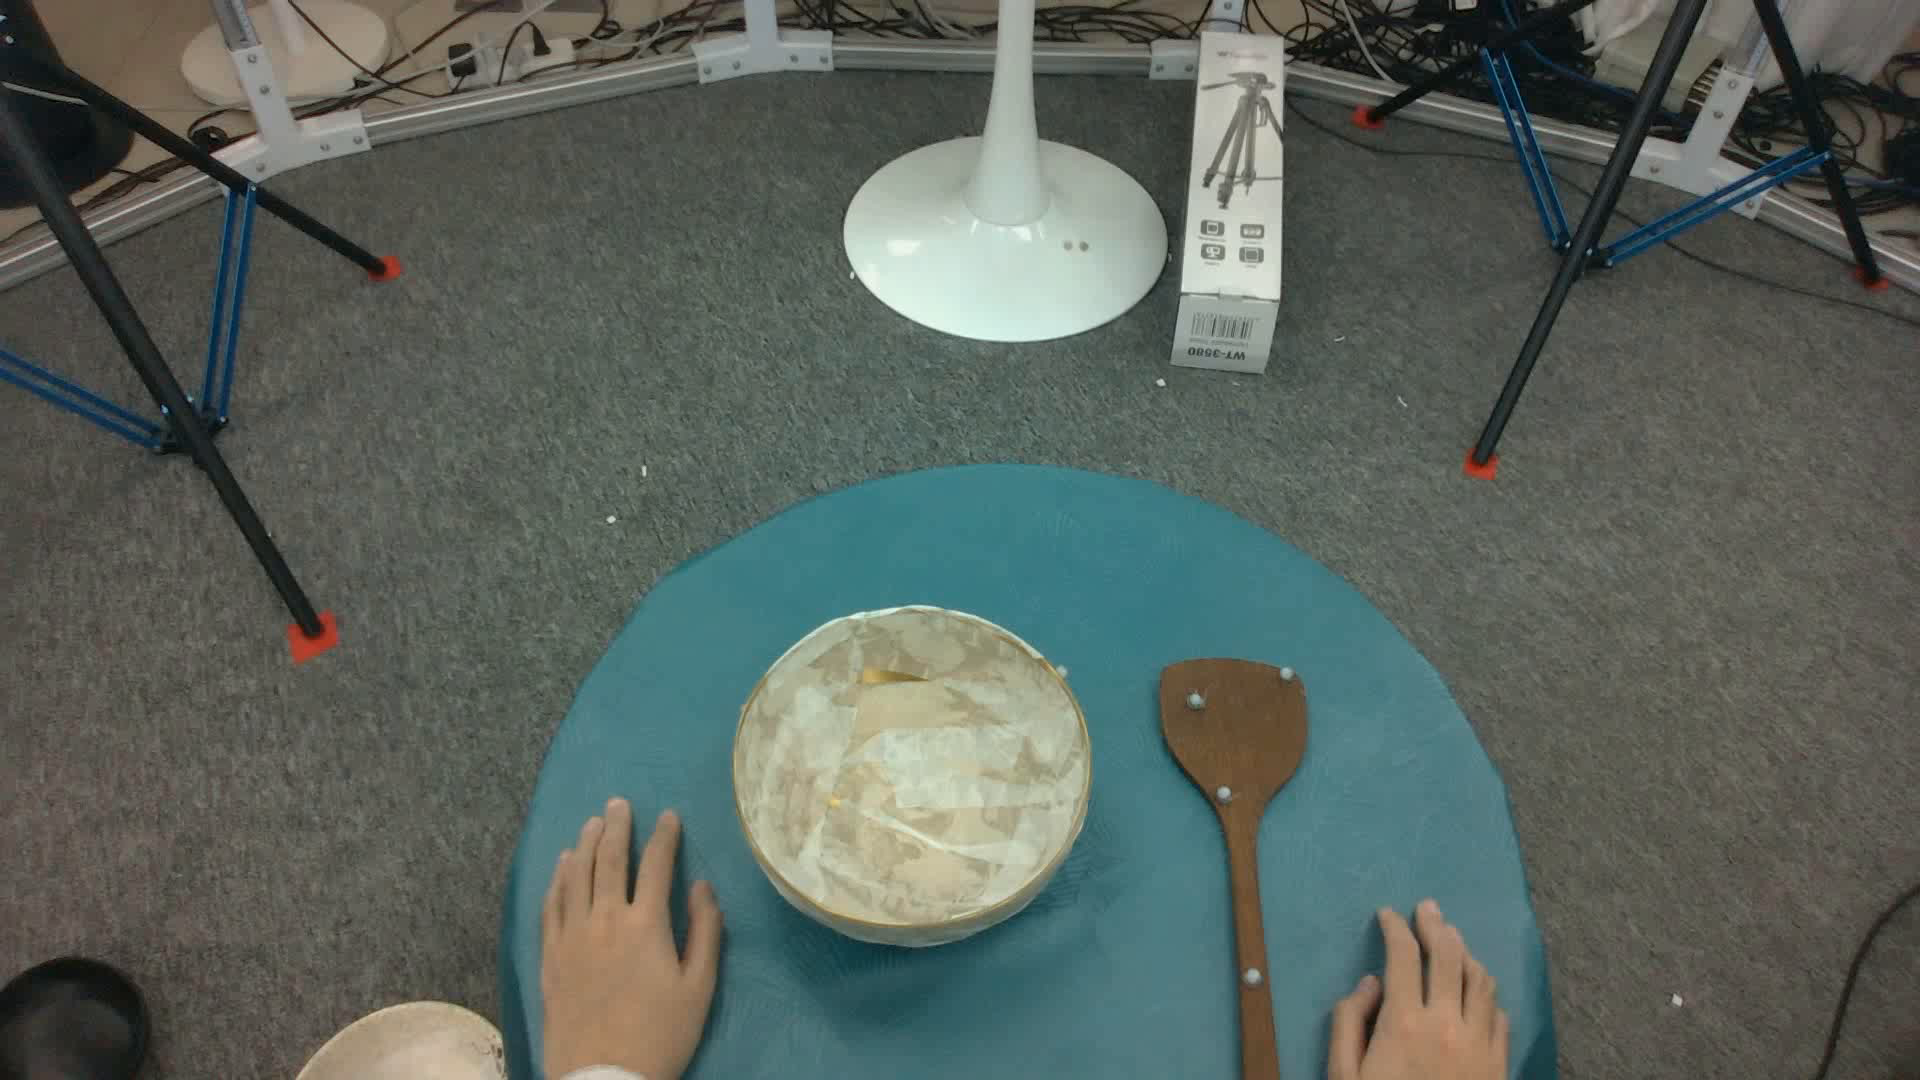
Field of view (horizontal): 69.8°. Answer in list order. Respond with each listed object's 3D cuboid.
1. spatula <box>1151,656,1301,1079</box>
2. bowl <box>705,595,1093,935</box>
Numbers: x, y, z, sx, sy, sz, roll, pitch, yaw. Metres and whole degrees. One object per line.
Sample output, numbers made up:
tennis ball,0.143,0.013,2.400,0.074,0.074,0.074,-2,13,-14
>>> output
spatula,0.160,0.226,0.780,0.096,0.016,0.388,4,50,1
bowl,-0.034,0.141,0.788,0.215,0.094,0.215,3,51,-3
